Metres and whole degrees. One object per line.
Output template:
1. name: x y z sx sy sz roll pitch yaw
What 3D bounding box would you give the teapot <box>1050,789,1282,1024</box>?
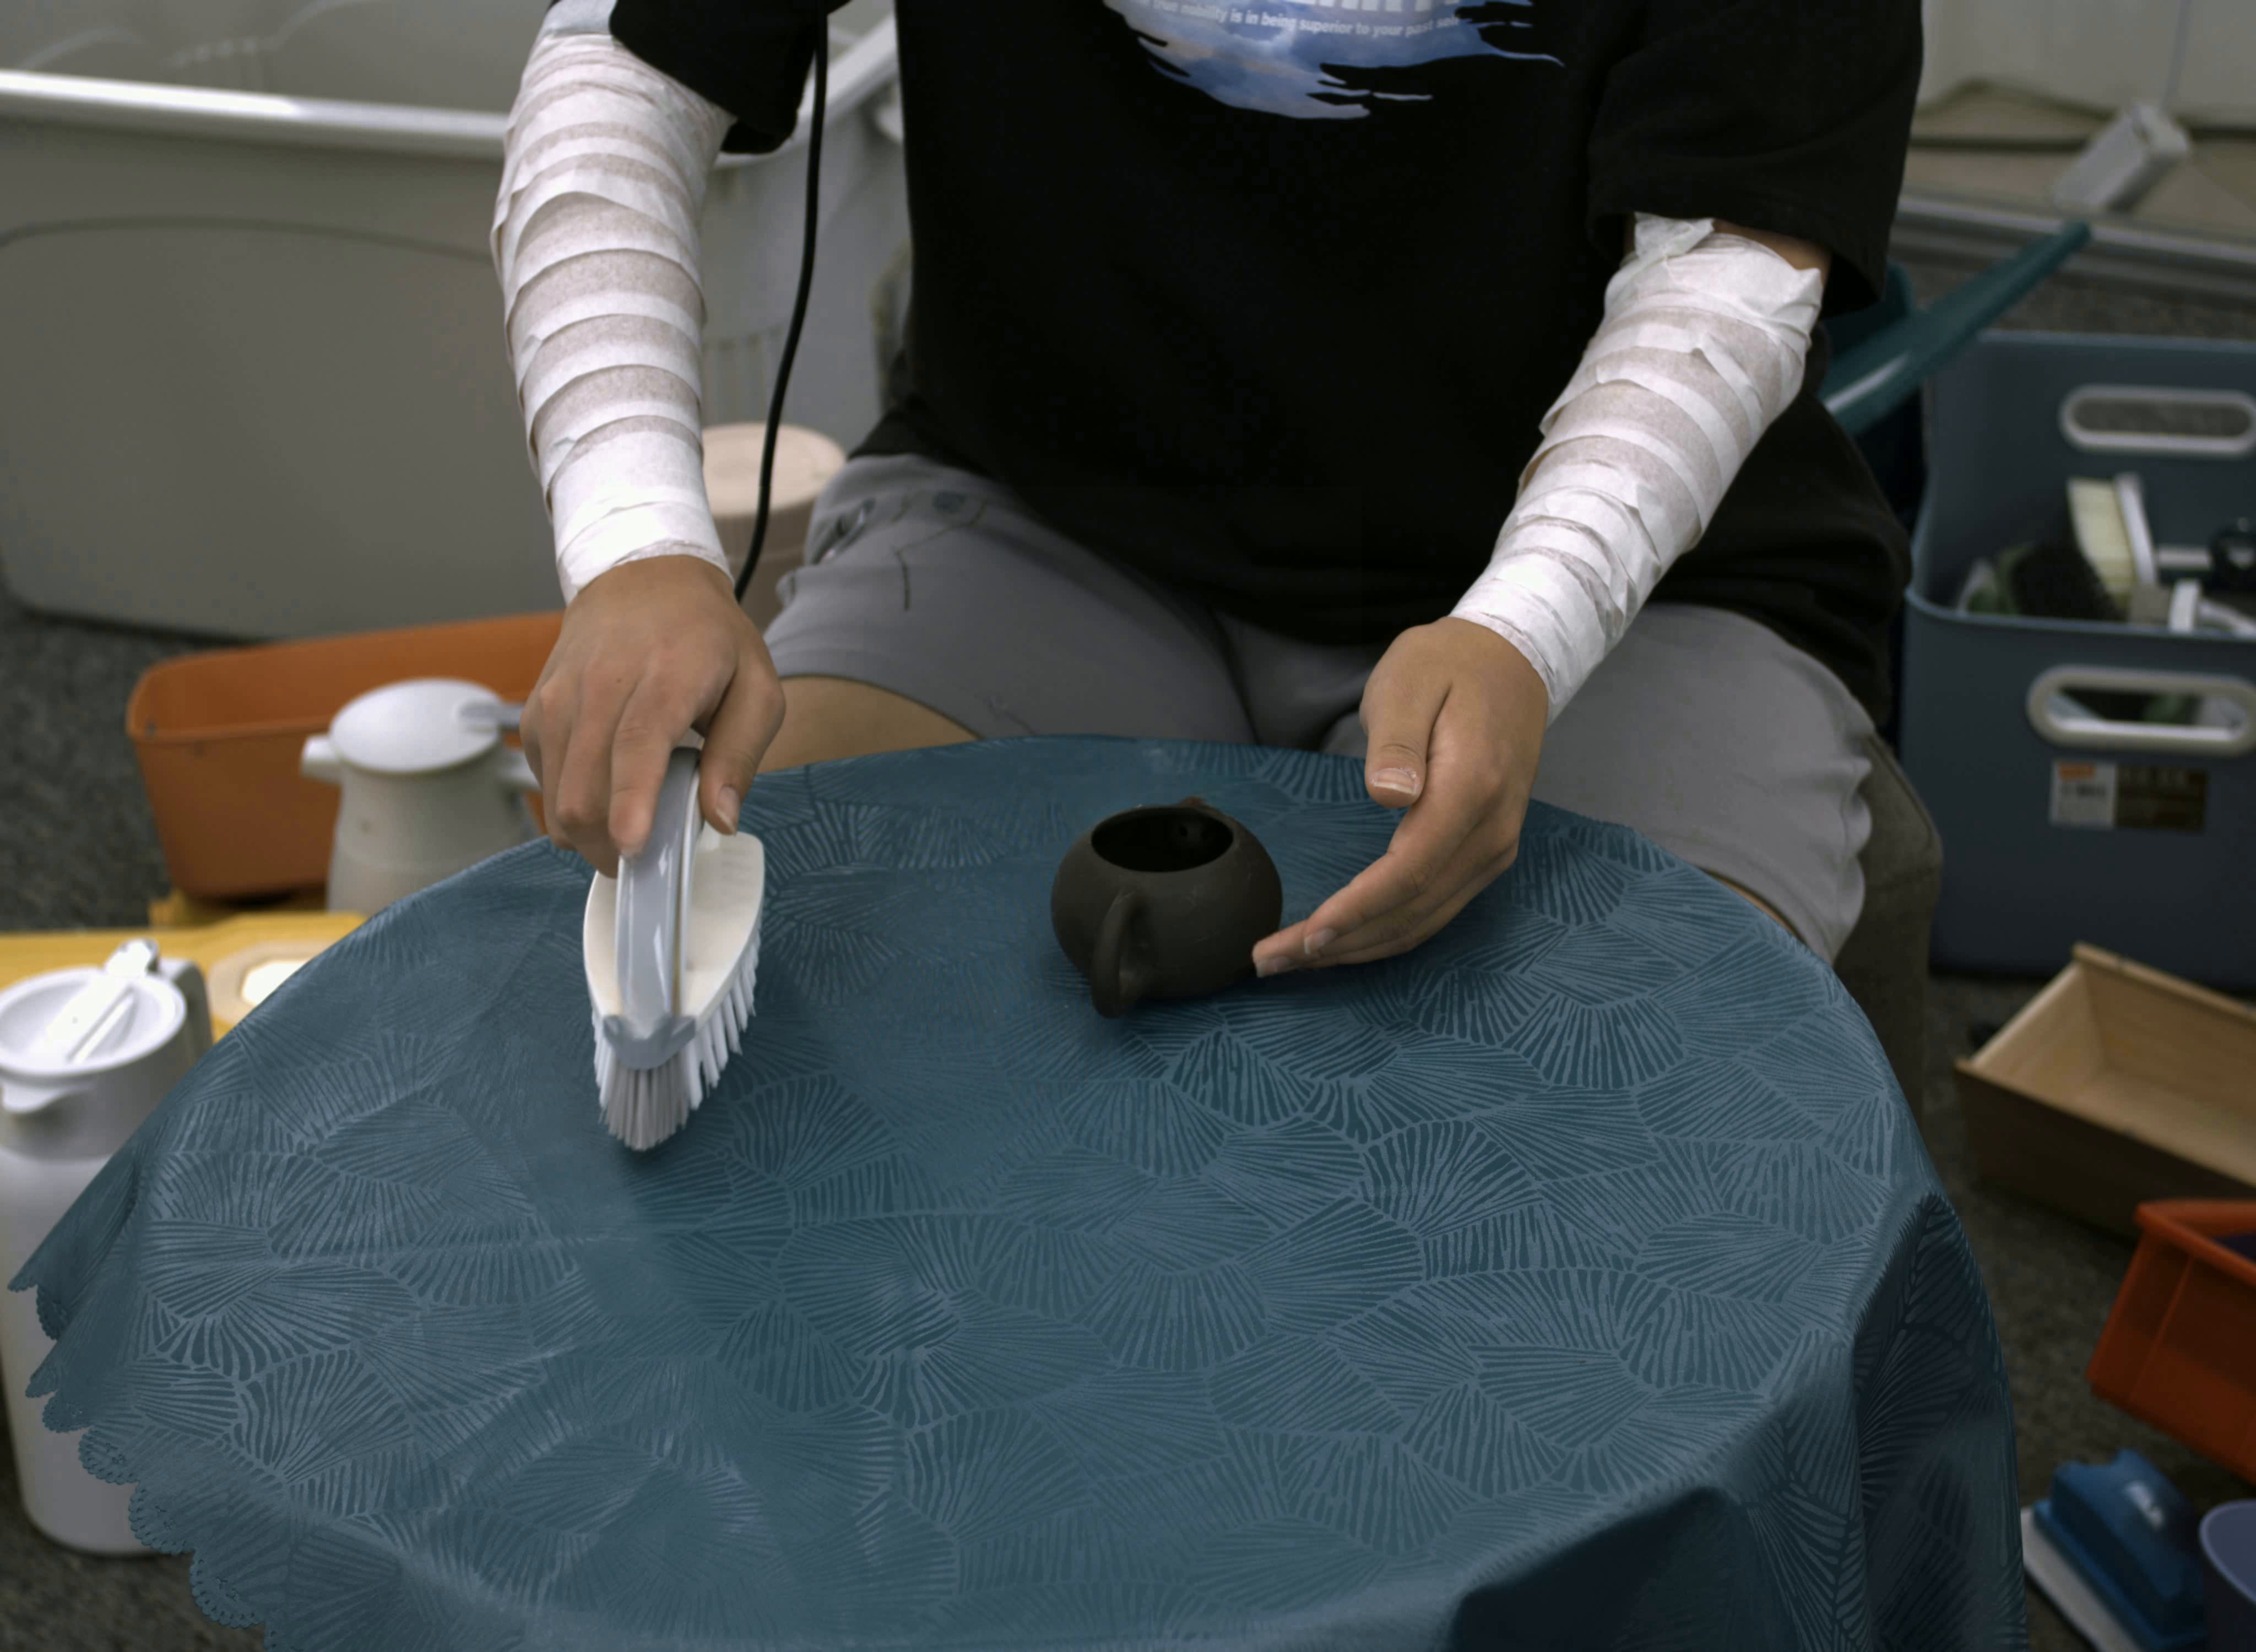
1. teapot: 0.009 0.032 1.981 0.082 0.052 0.116 7 27 20

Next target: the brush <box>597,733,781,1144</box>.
1. brush: -0.156 0.031 1.942 0.061 0.093 0.178 -3 27 3
